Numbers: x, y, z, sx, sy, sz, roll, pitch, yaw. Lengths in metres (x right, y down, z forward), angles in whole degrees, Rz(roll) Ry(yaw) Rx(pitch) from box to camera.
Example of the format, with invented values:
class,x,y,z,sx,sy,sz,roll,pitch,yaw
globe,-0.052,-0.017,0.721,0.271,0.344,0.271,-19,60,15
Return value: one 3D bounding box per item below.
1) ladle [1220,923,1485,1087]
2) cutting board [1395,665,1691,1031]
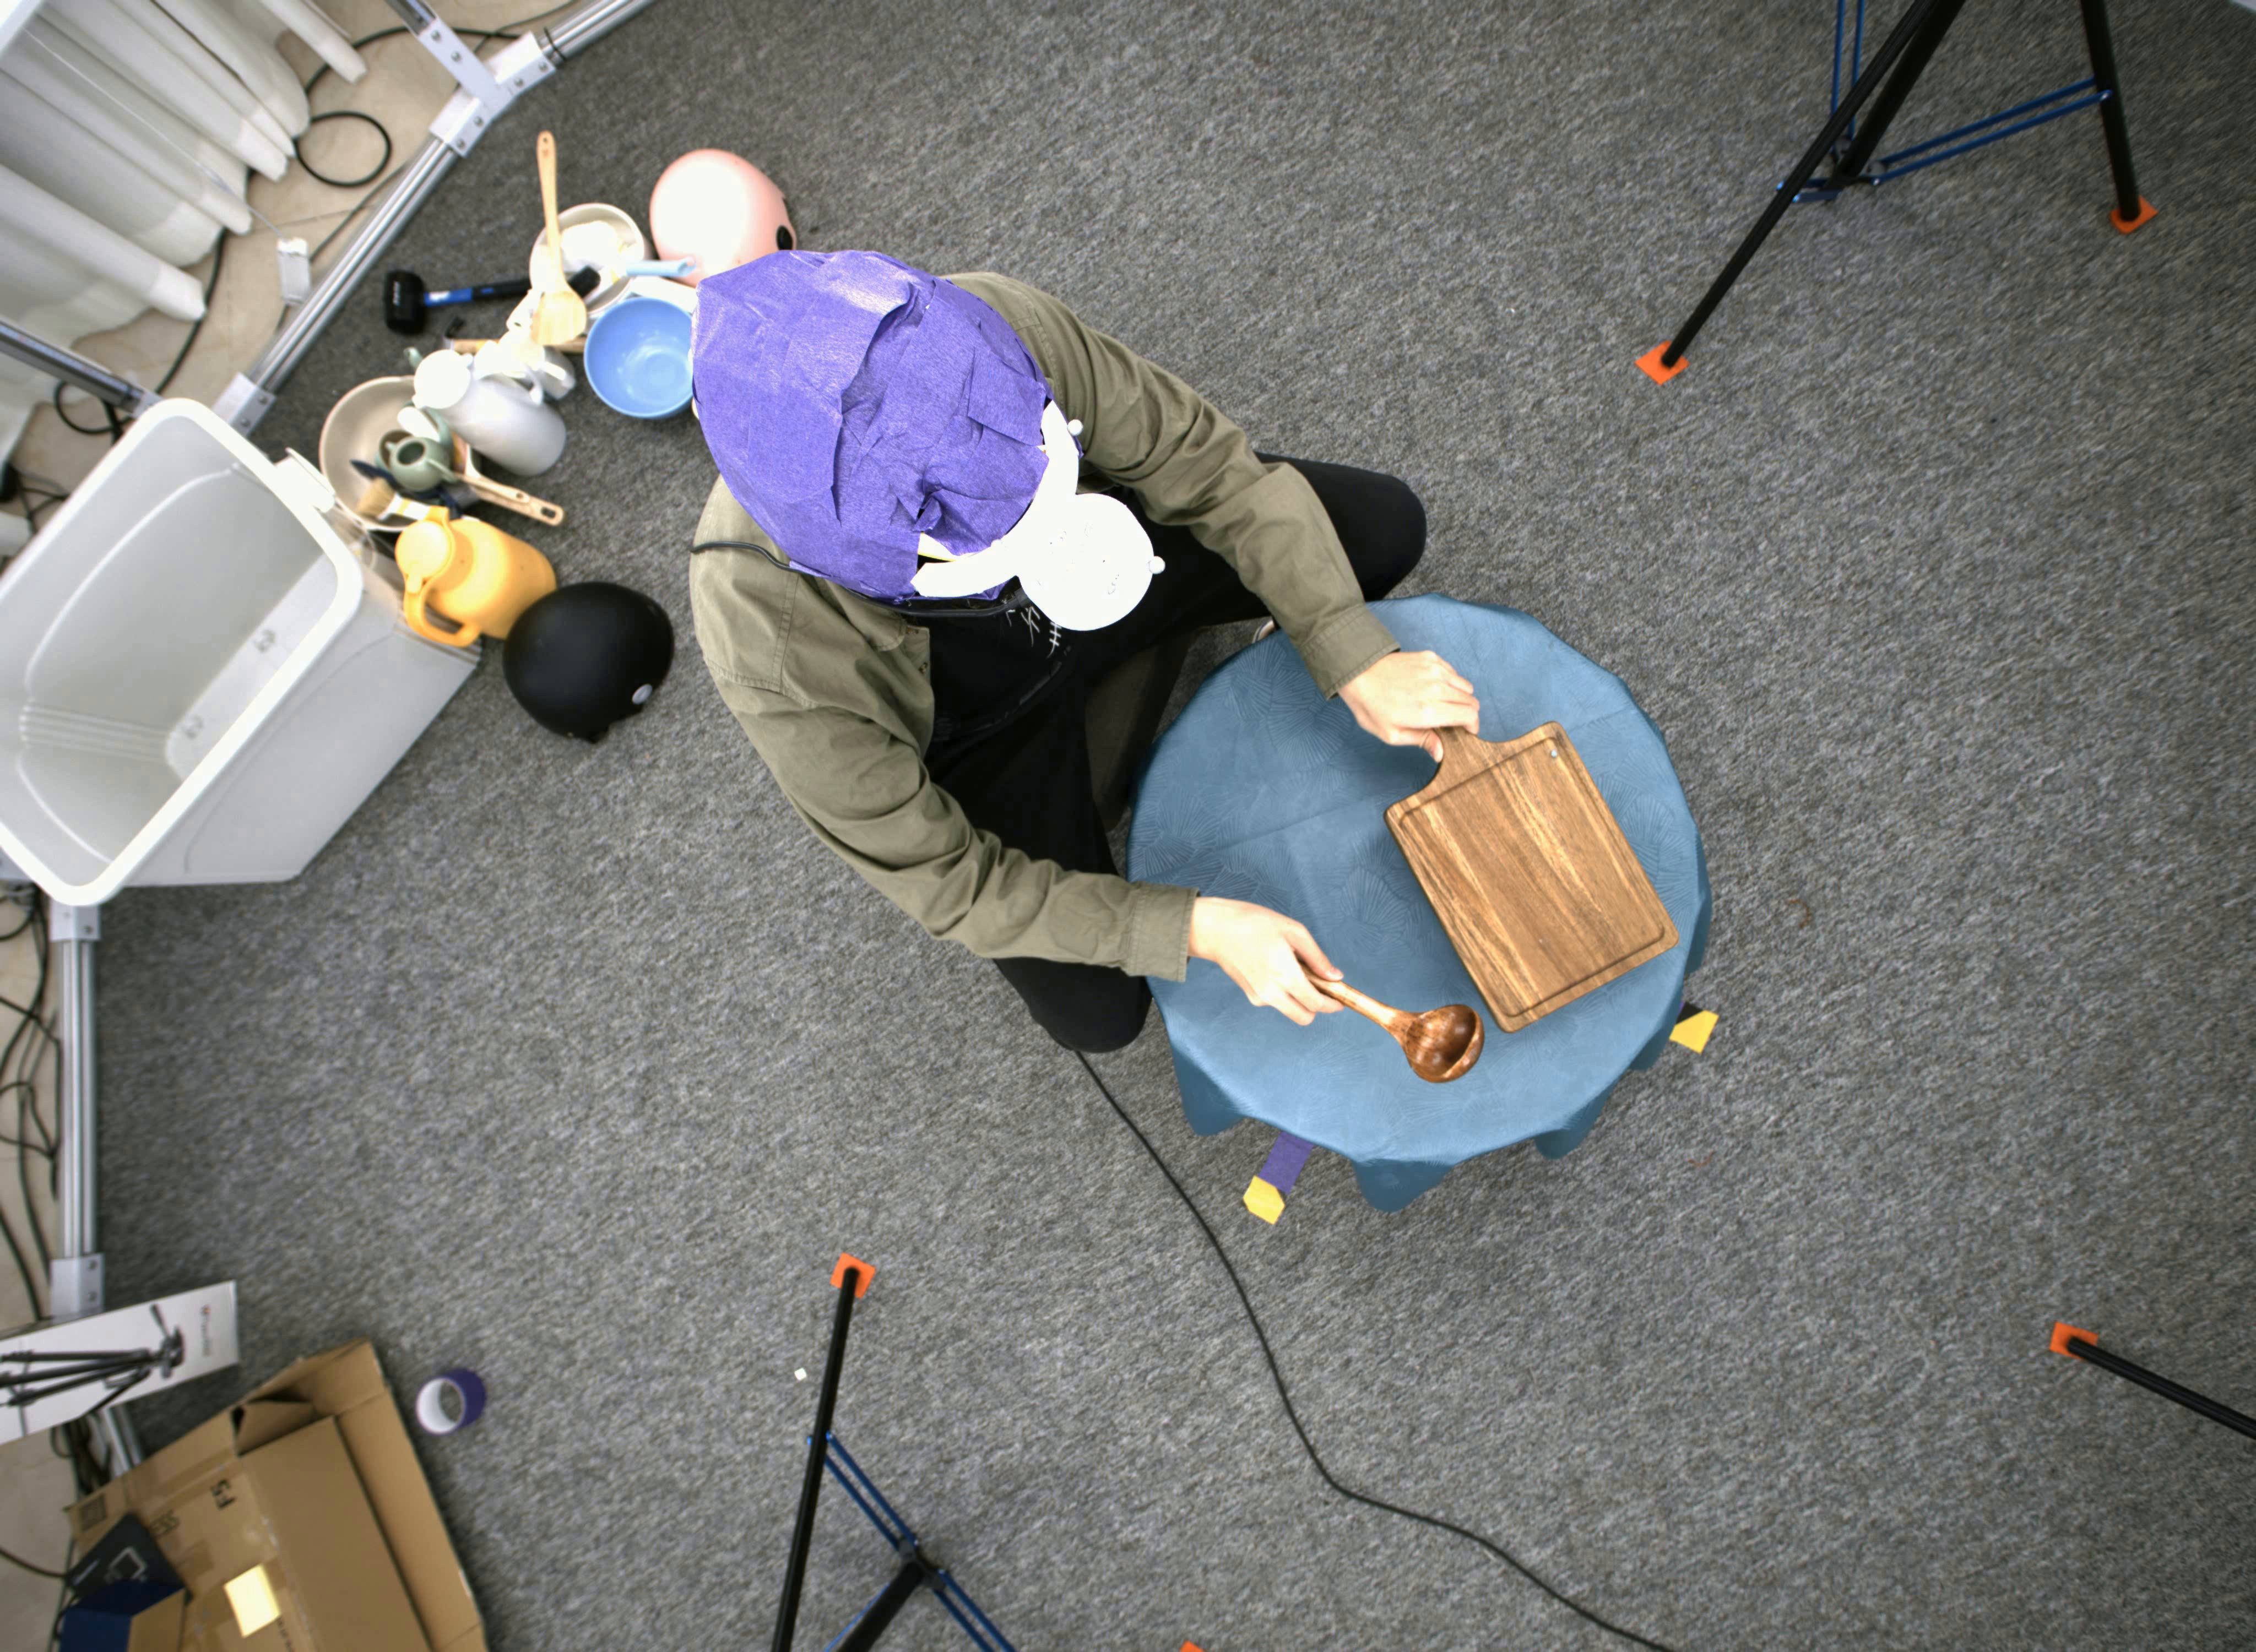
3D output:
class,x,y,z,sx,sy,sz,roll,pitch,yaw
ladle,0.206,0.157,1.312,0.273,0.078,0.081,28,74,14
cutting board,0.381,-0.001,1.335,0.201,0.023,0.351,-27,88,3
